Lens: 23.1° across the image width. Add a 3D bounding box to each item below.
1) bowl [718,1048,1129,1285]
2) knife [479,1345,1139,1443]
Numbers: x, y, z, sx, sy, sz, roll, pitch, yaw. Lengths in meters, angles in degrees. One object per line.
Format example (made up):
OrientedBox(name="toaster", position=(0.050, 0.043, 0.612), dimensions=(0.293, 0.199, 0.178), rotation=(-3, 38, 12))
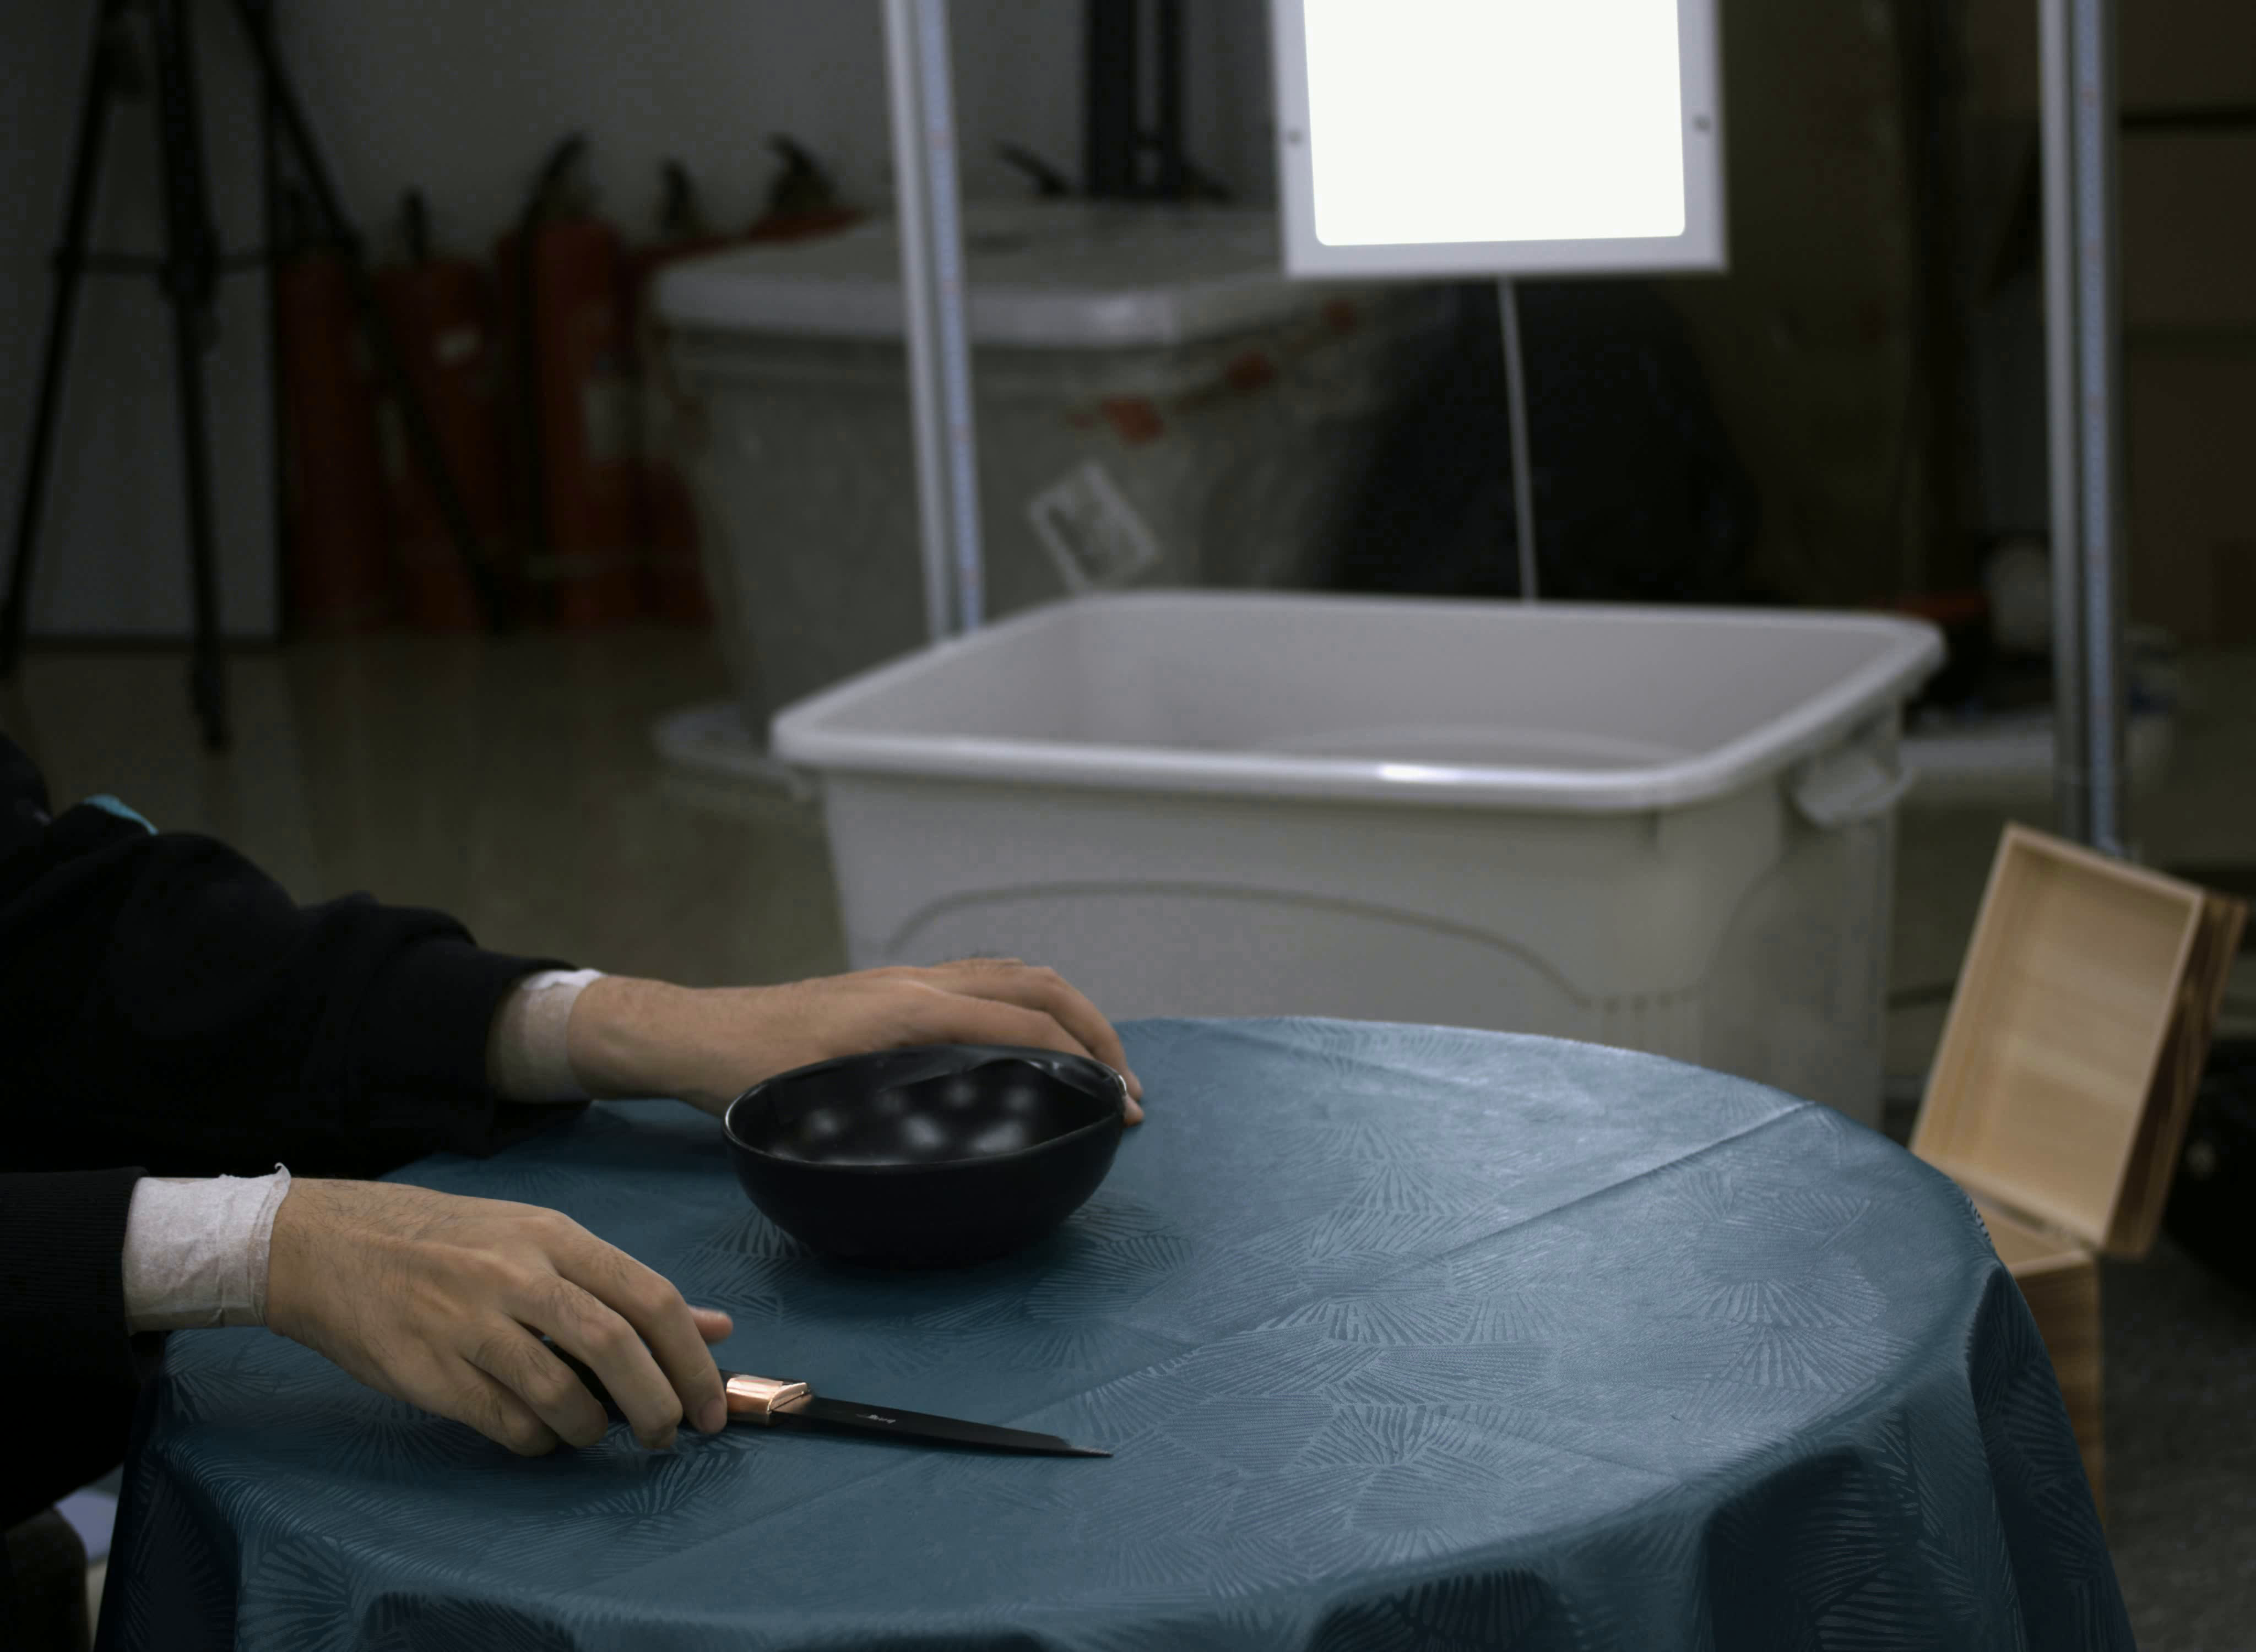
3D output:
OrientedBox(name="bowl", position=(-0.066, 0.119, 1.859), dimensions=(0.140, 0.050, 0.140), rotation=(-9, 14, 1))
OrientedBox(name="knife", position=(-0.101, 0.178, 1.702), dimensions=(0.229, 0.017, 0.025), rotation=(4, 14, 27))
